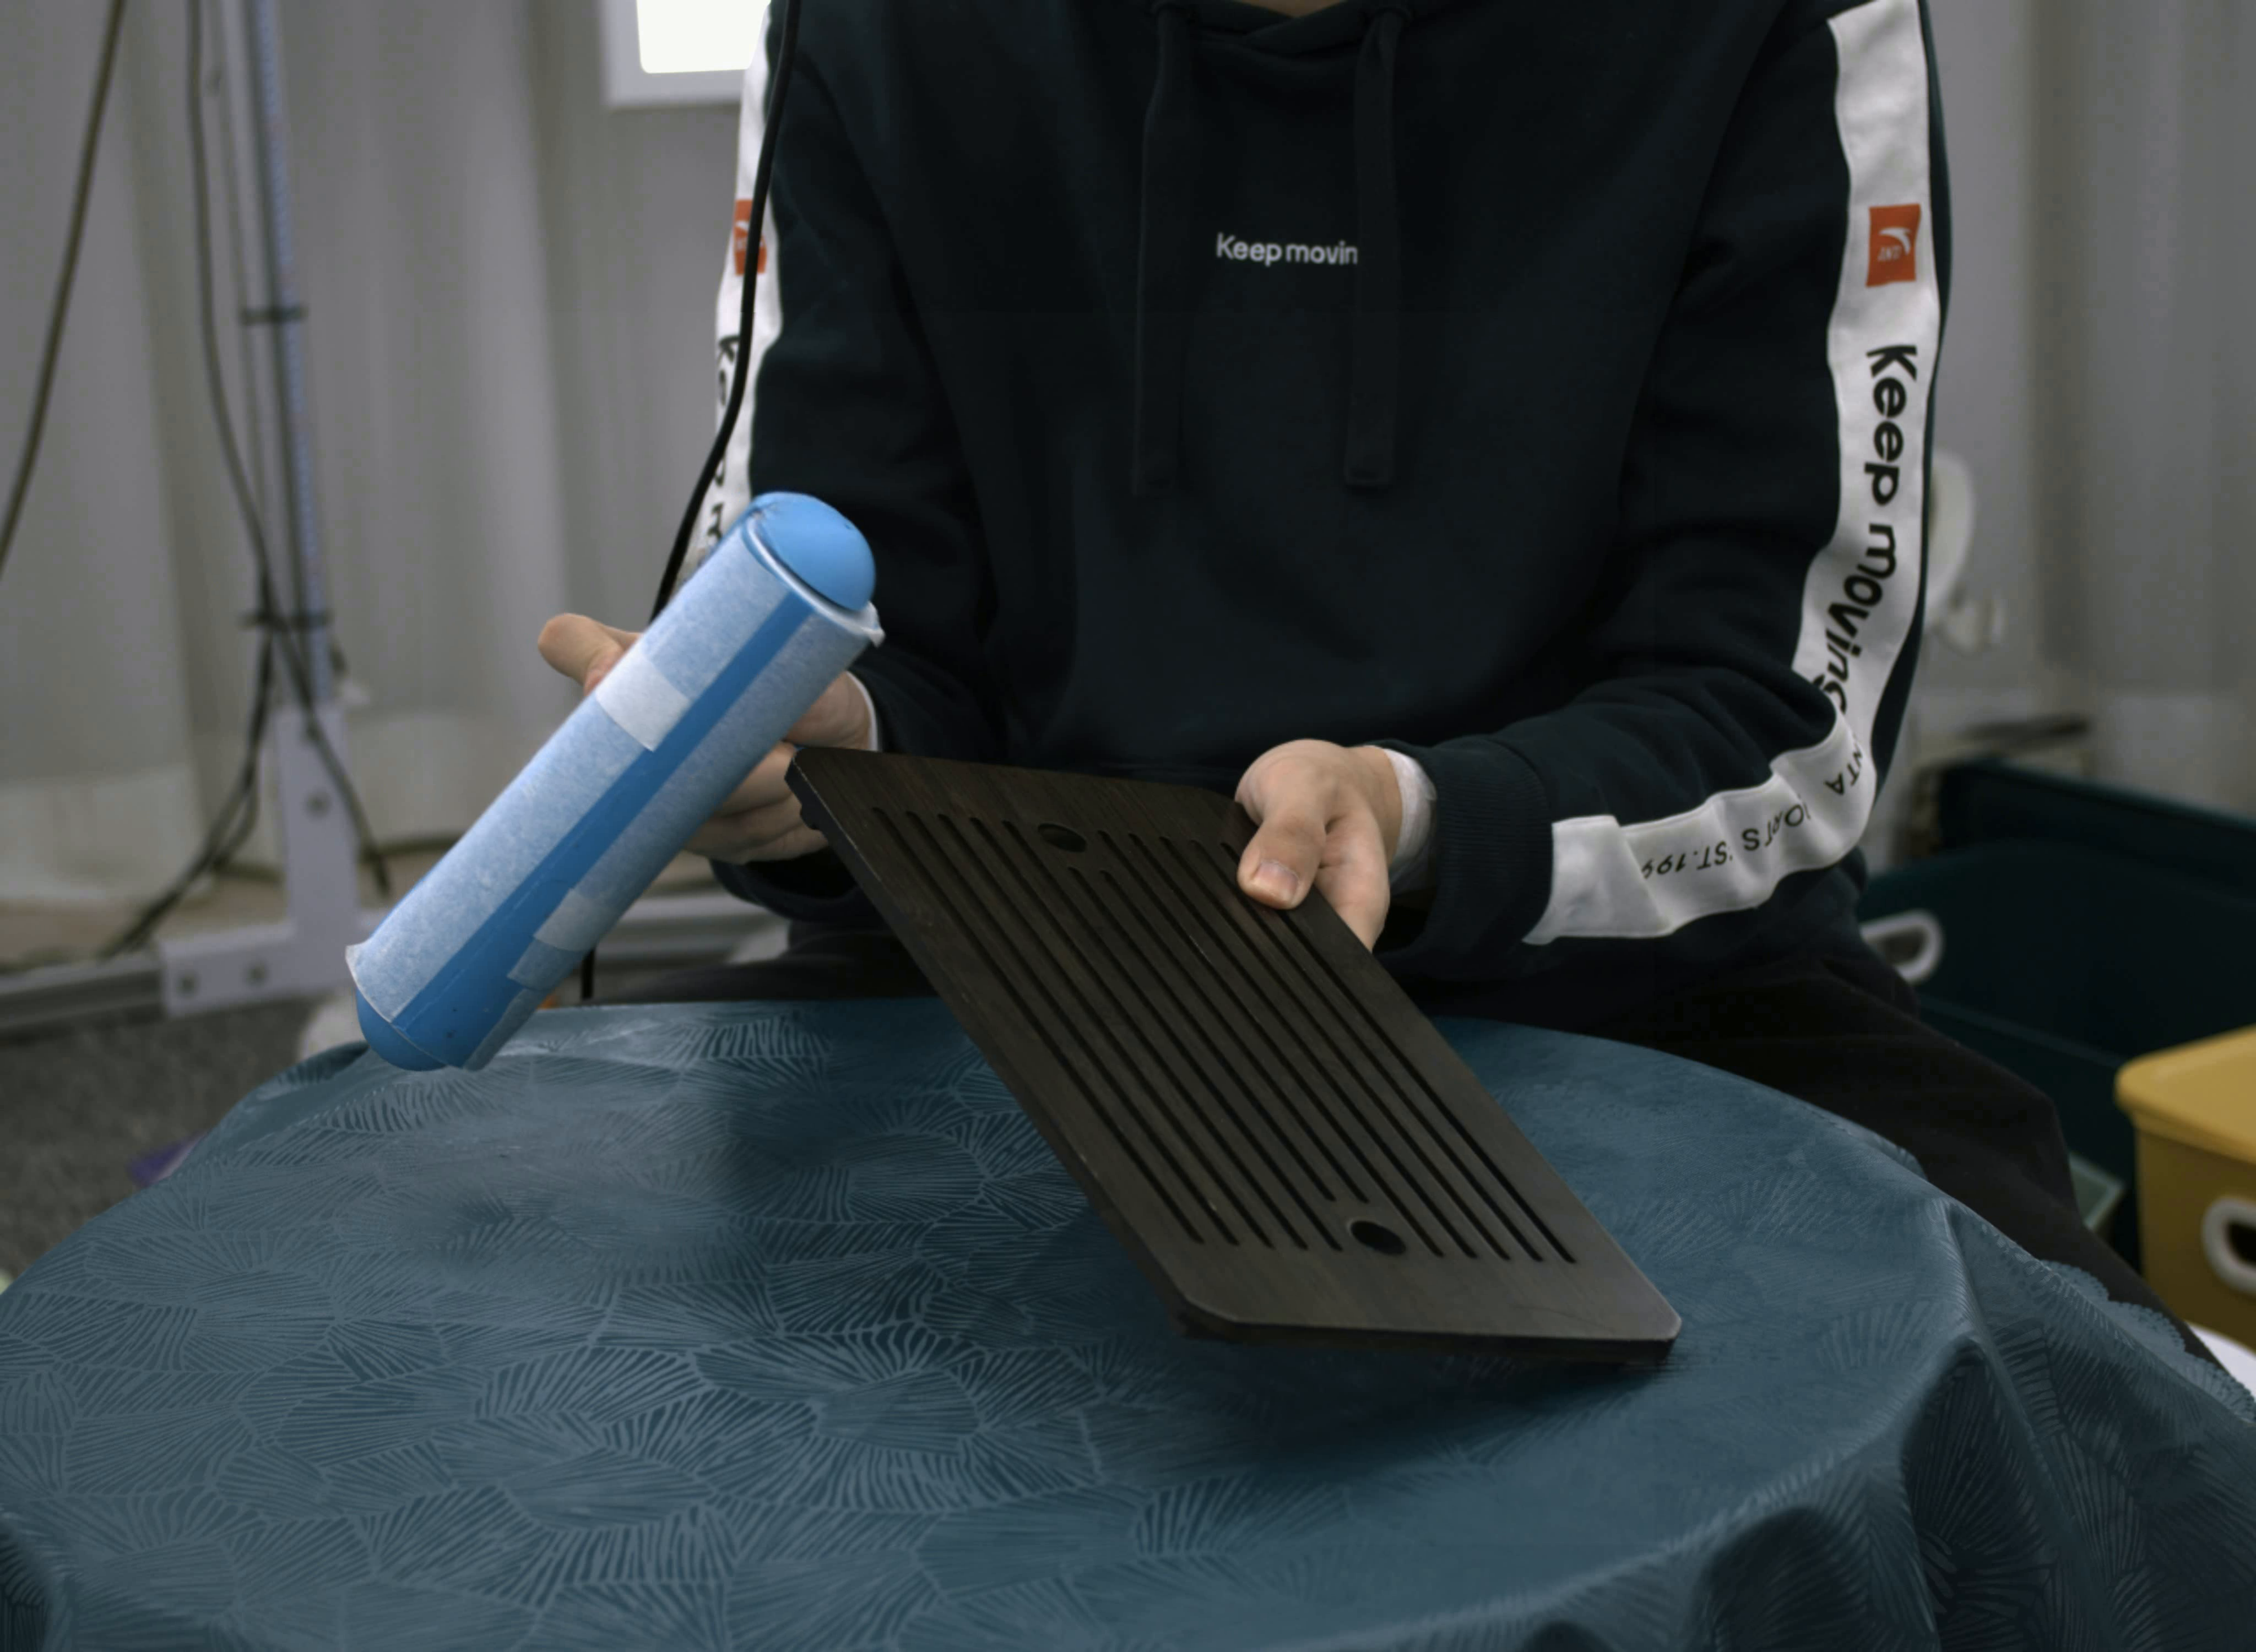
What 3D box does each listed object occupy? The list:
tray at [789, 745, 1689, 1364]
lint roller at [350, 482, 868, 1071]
[{"bbox_3d":[0.026,0.067,1.613,0.169,0.018,0.310,6,28,-32],"label":"tray"},{"bbox_3d":[-0.149,-0.016,1.756,0.068,0.228,0.180,42,11,7],"label":"lint roller"}]
